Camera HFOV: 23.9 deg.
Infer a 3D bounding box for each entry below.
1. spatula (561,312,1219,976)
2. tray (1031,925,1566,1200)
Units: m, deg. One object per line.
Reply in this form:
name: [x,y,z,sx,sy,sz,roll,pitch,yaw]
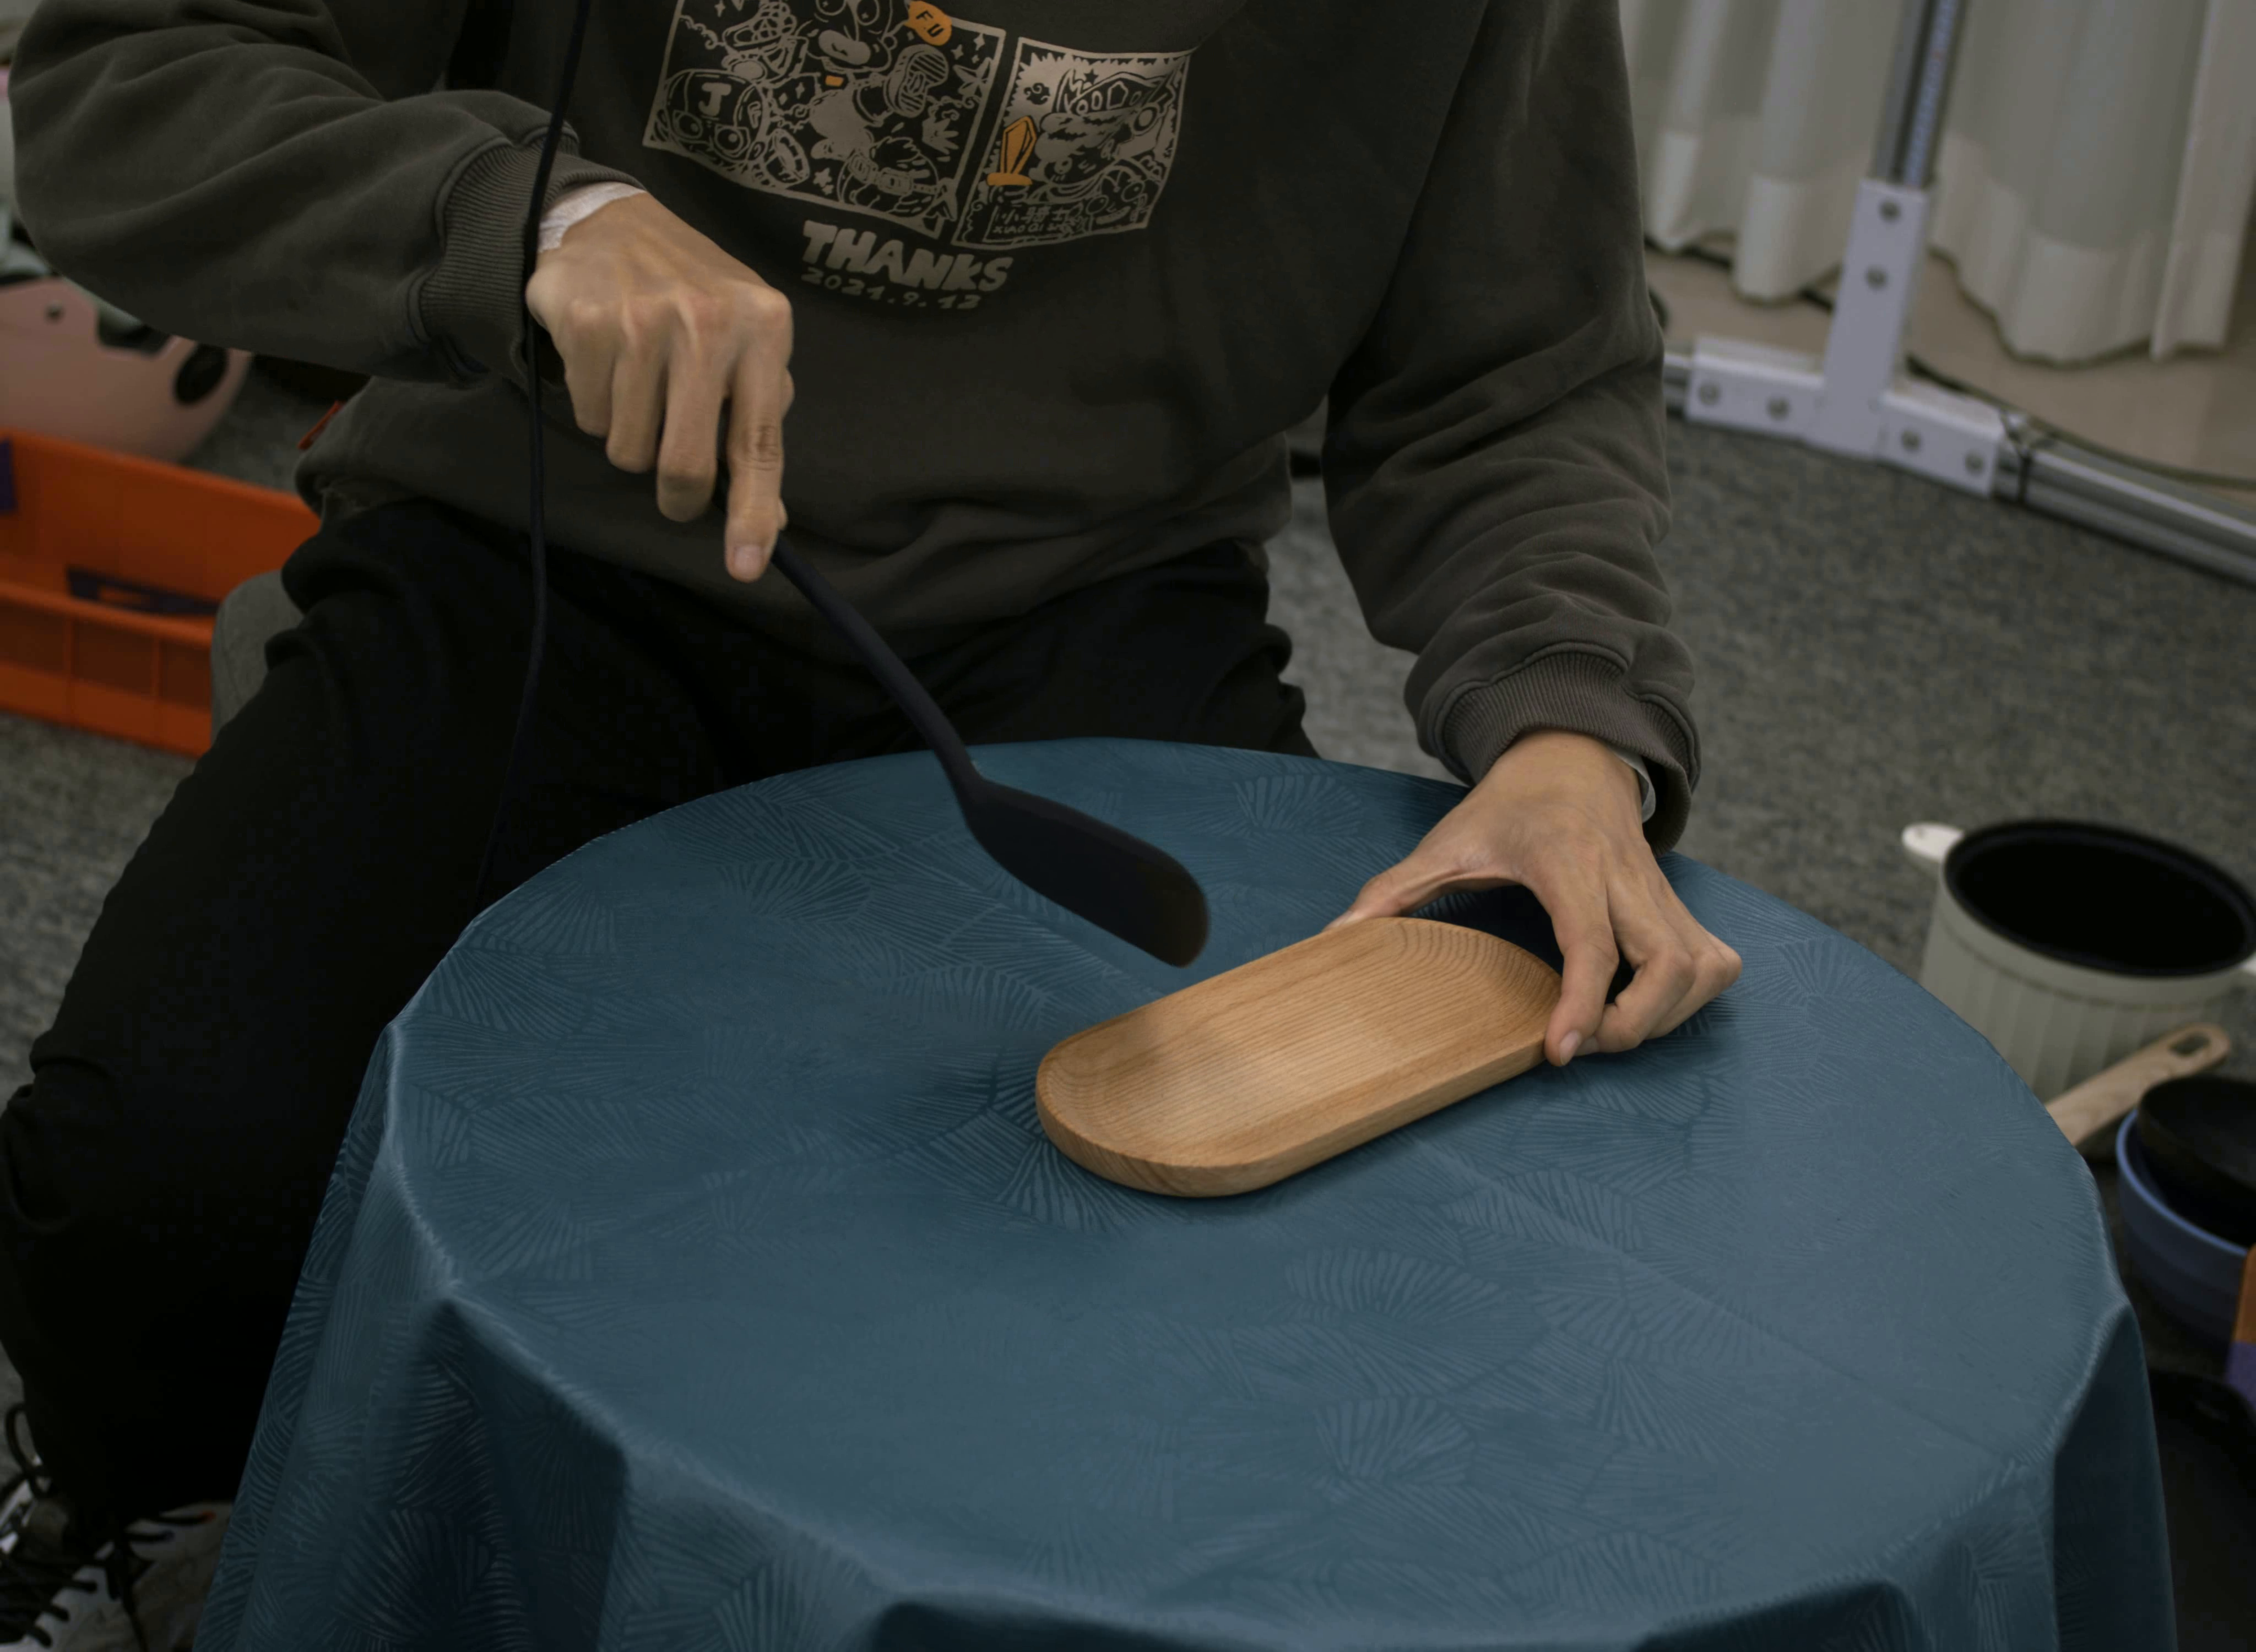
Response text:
spatula: [-0.088,-0.070,1.868,0.040,0.099,0.327,-36,76,-17]
tray: [0.062,0.083,1.882,0.230,0.020,0.102,-21,36,-41]
